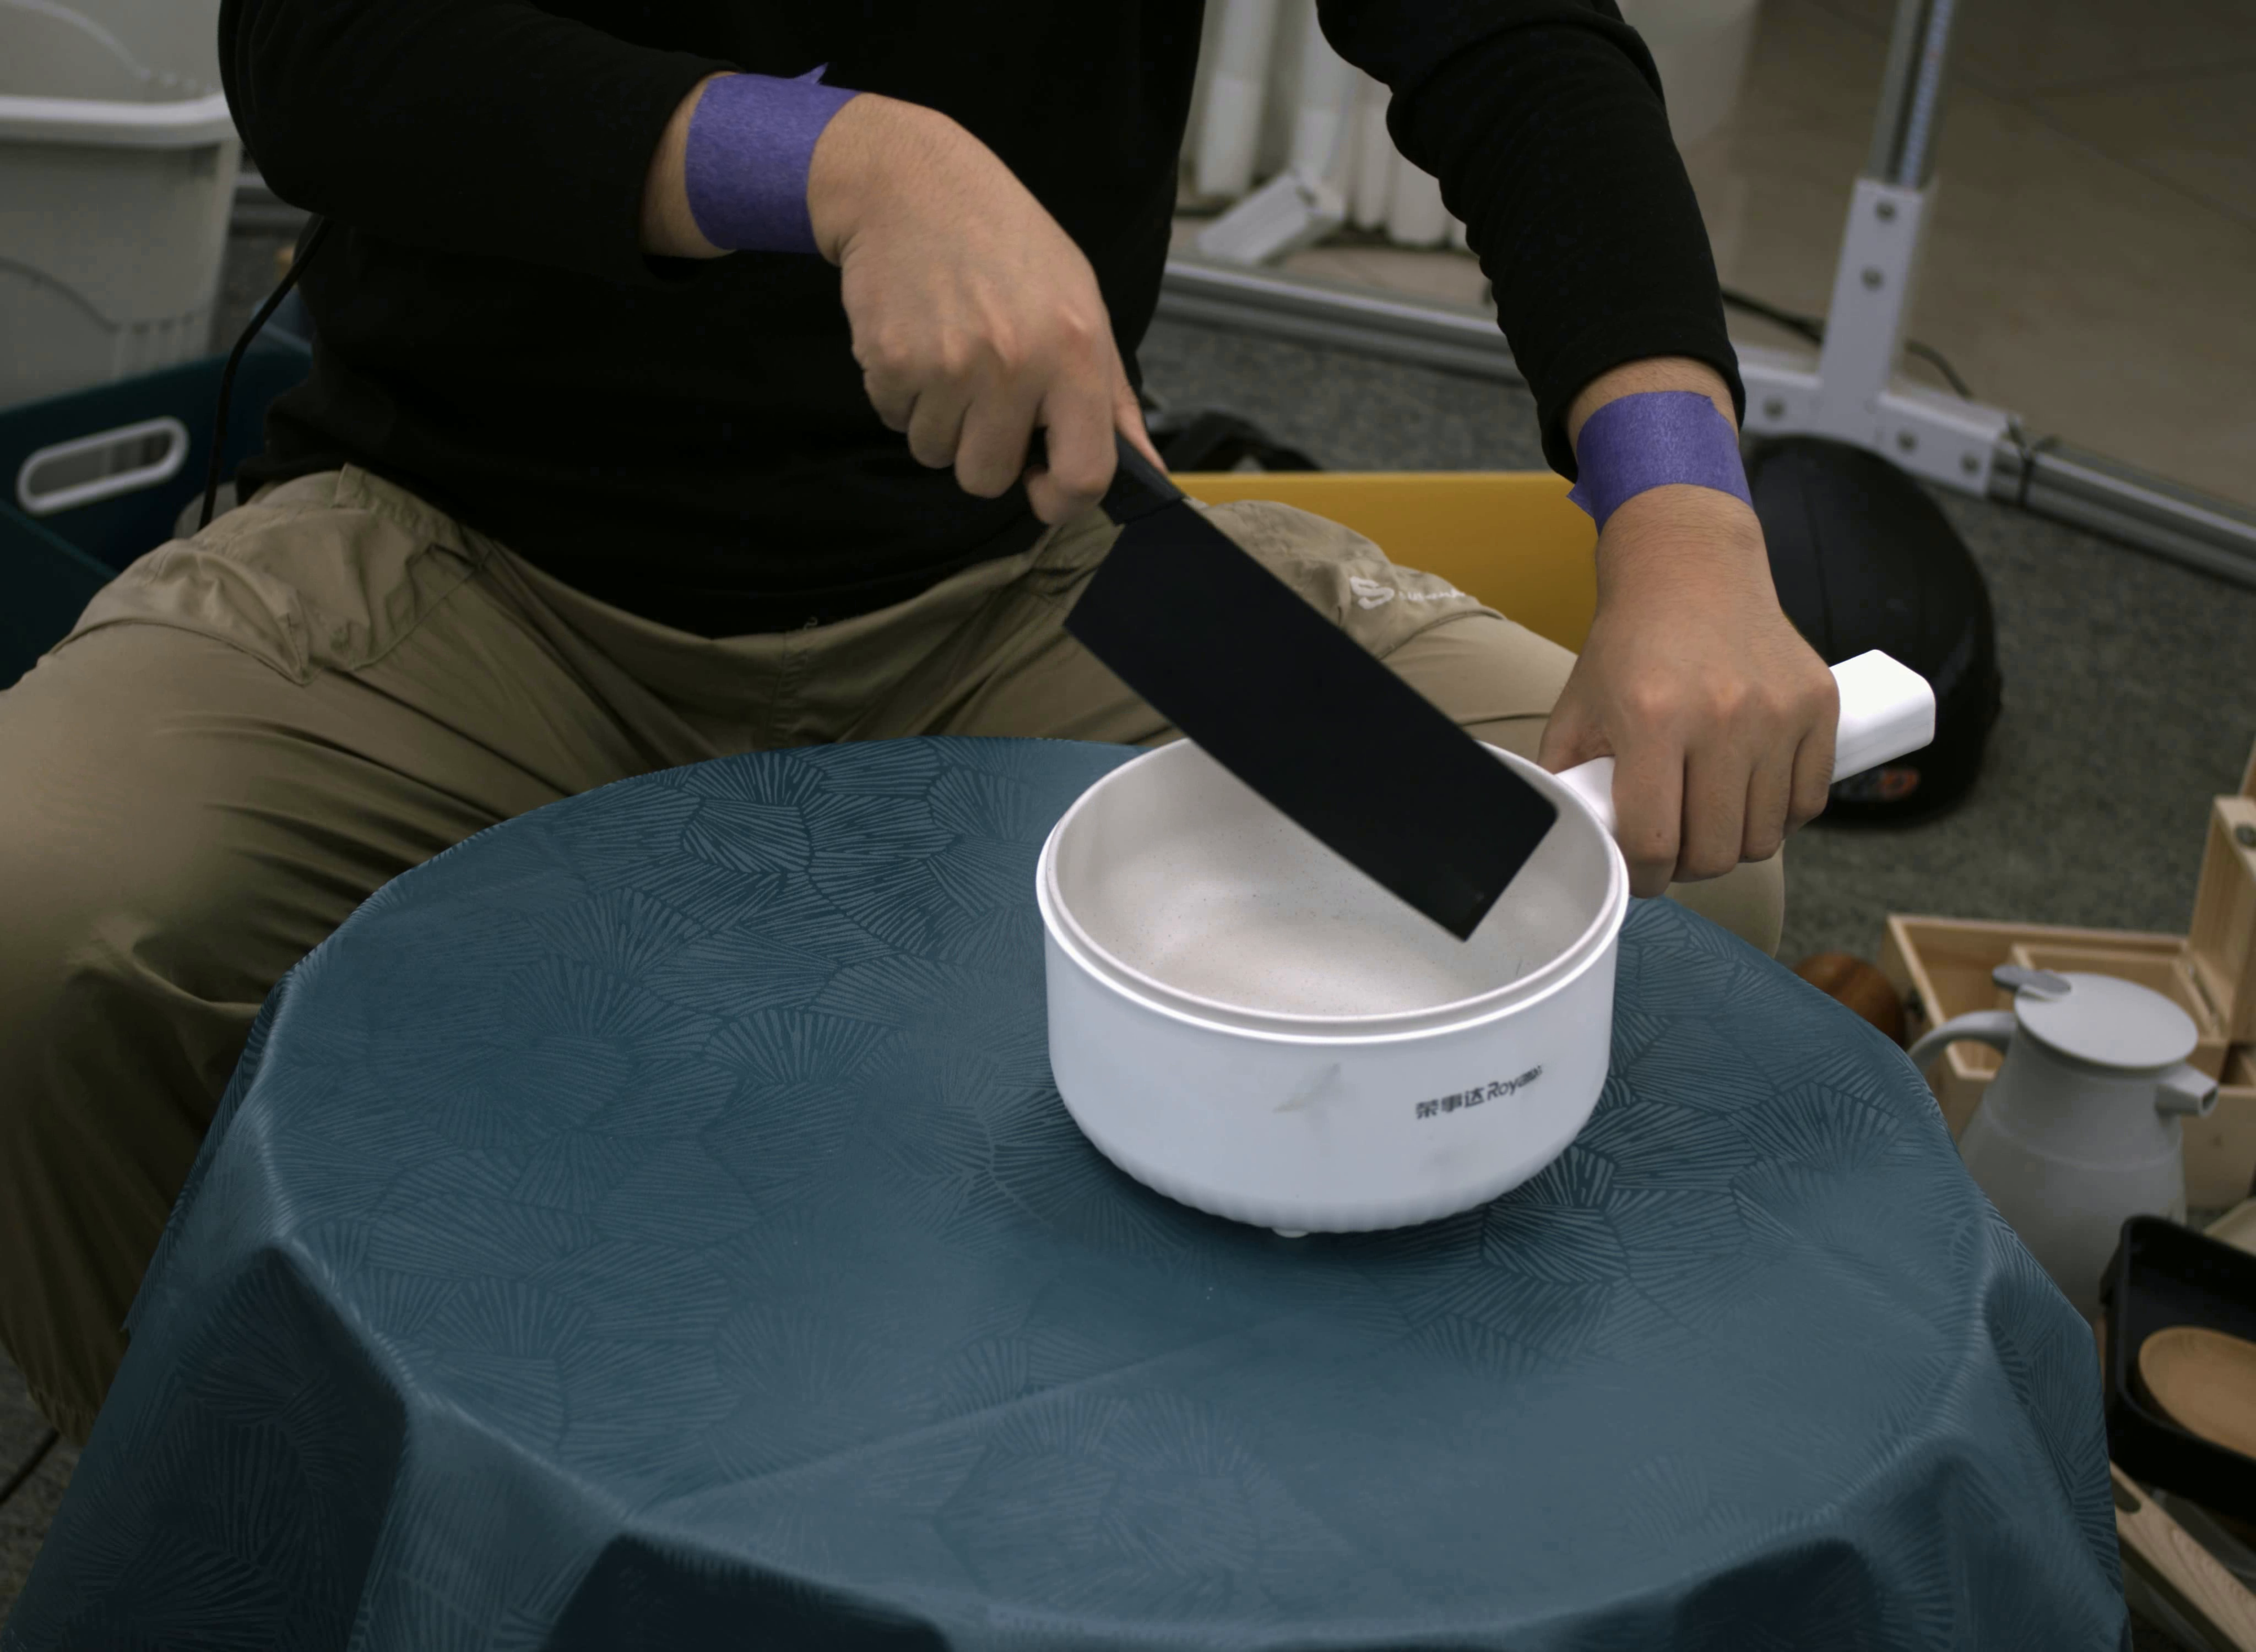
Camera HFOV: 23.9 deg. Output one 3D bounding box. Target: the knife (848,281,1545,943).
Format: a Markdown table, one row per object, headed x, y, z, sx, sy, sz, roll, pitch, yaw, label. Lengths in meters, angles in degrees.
| x | y | z | sx | sy | sz | roll | pitch | yaw | label |
| --- | --- | --- | --- | --- | --- | --- | --- | --- | --- |
| 0.016 | -0.078 | 1.814 | 0.303 | 0.081 | 0.021 | 45 | 25 | 12 | knife |

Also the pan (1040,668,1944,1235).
| x | y | z | sx | sy | sz | roll | pitch | yaw | label |
| --- | --- | --- | --- | --- | --- | --- | --- | --- | --- |
| 0.134 | 0.035 | 1.866 | 0.353 | 0.101 | 0.203 | -18 | 35 | -28 | pan |
